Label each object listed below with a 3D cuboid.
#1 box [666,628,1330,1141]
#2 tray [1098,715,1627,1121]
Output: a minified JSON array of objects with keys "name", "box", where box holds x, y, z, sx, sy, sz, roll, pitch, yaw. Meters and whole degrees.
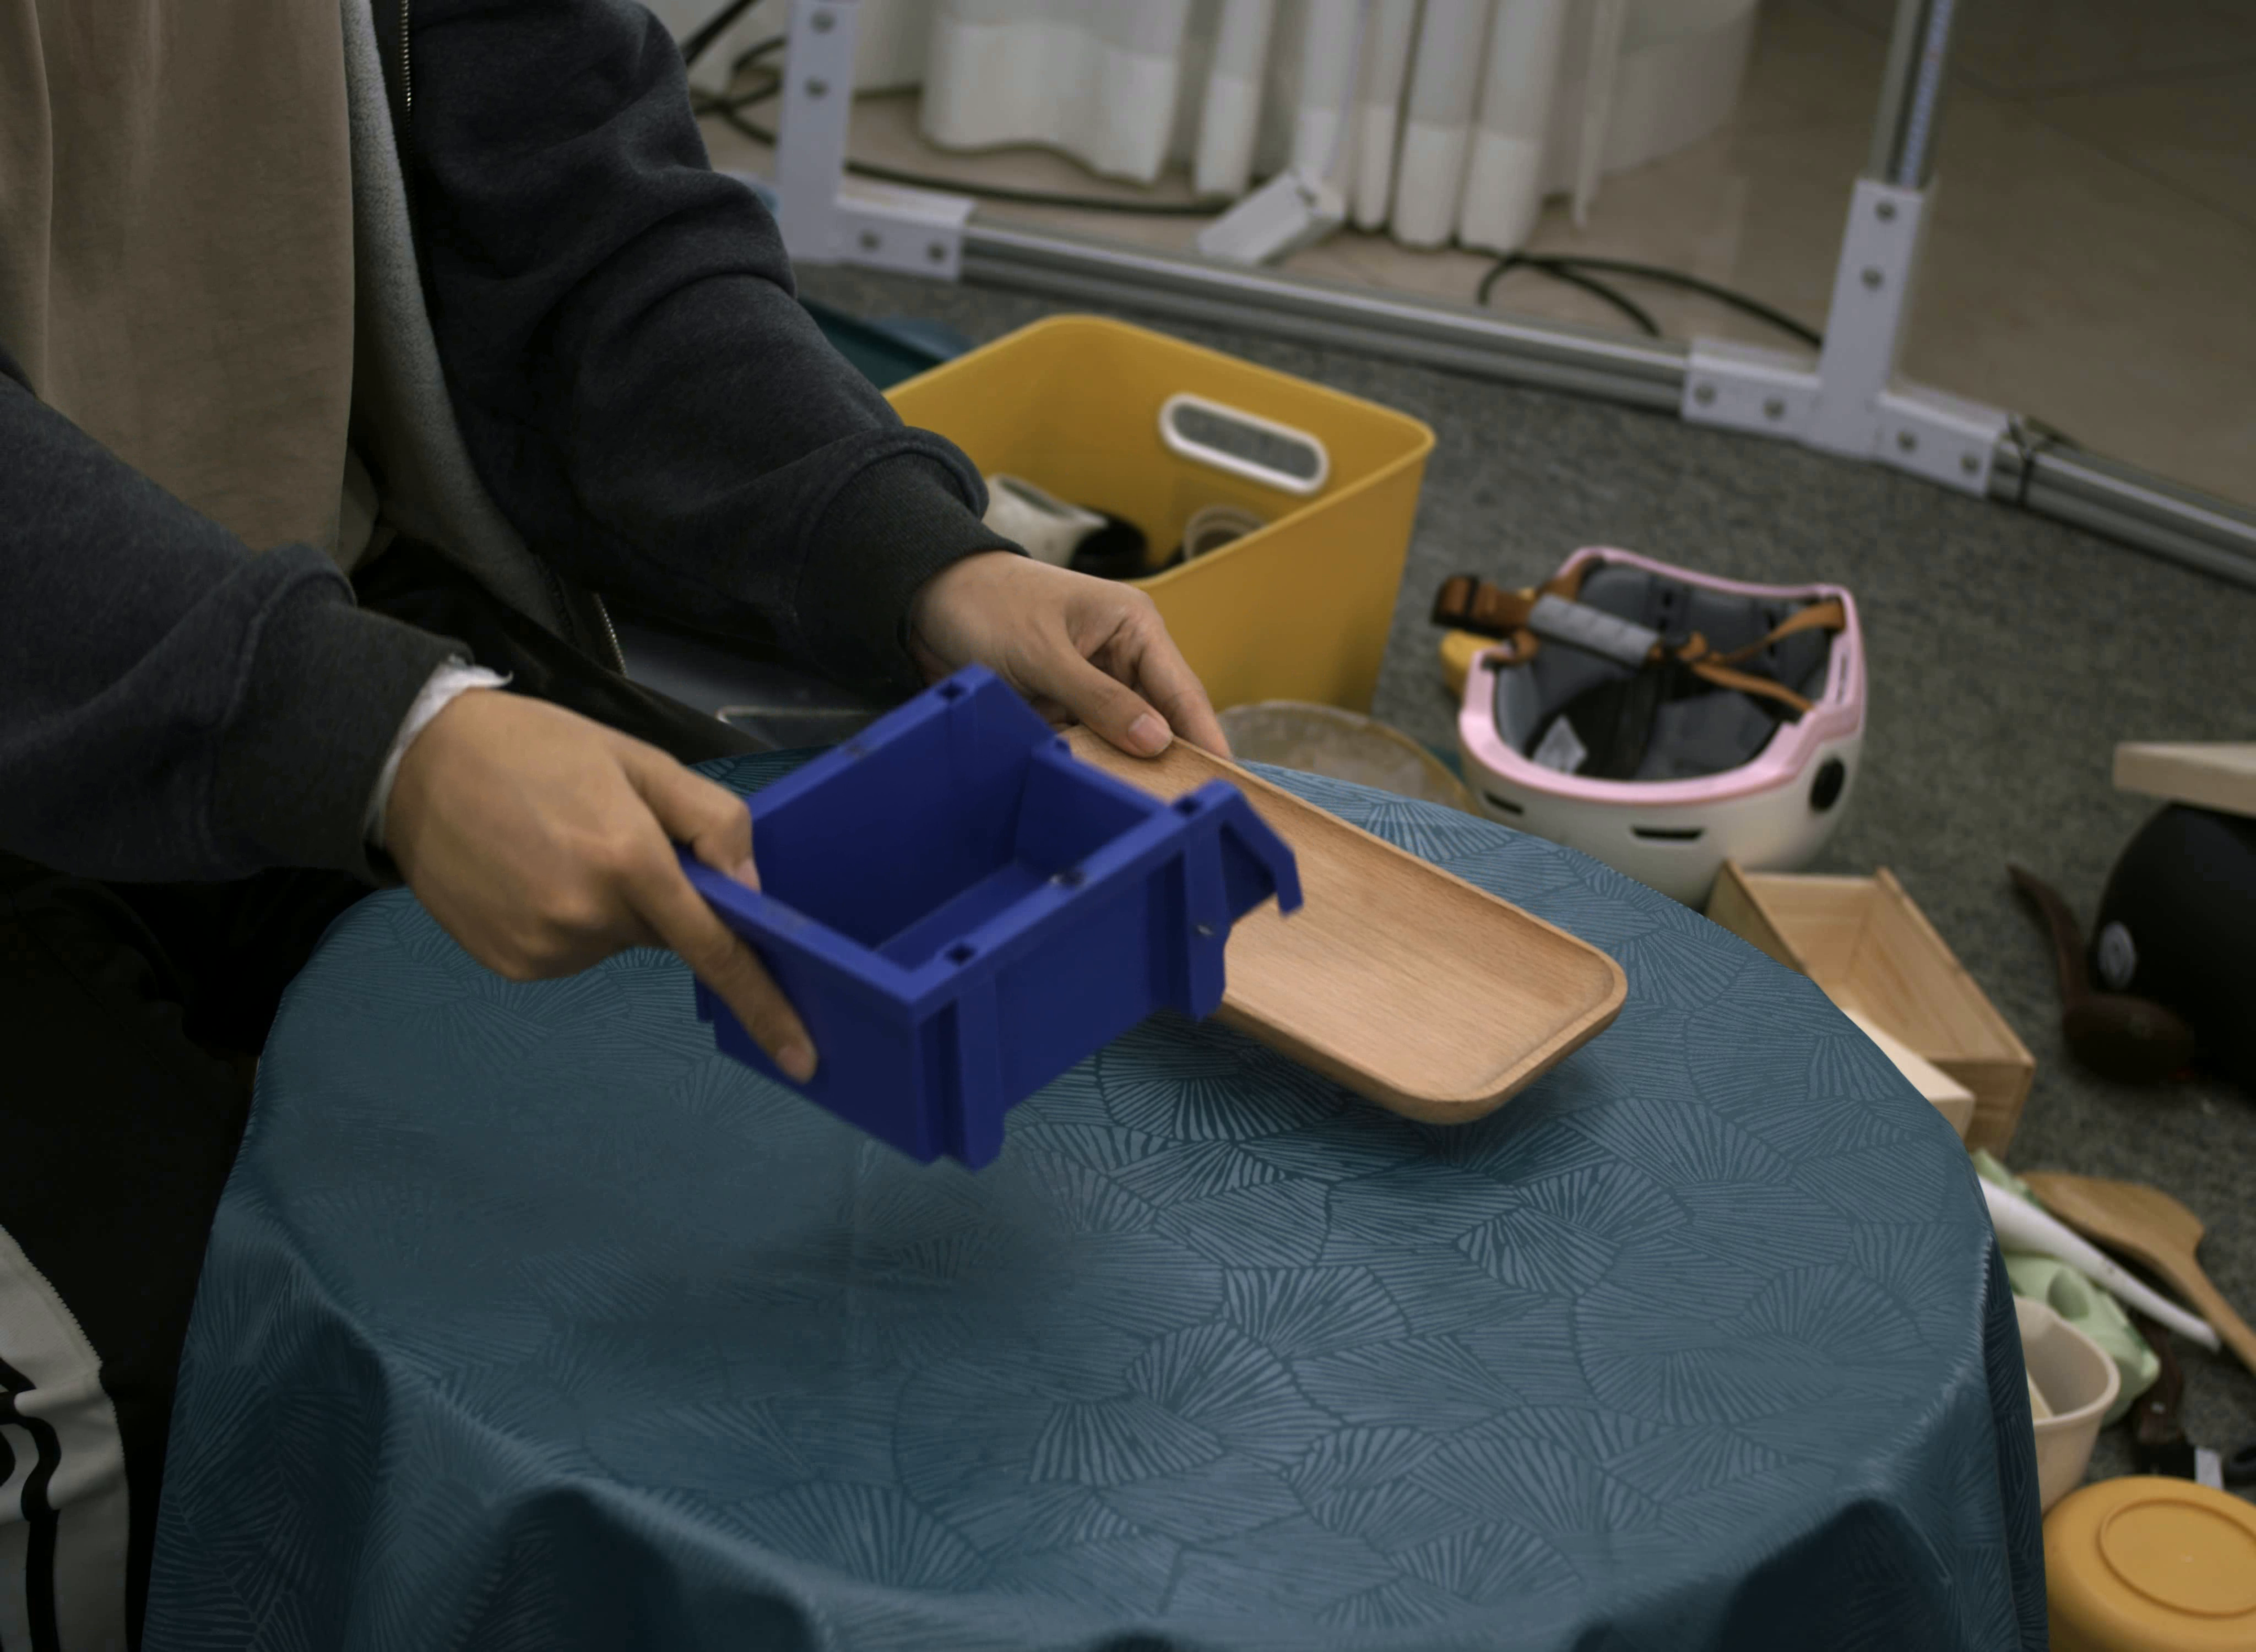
[{"name":"box","box":[-0.041,0.014,1.724,0.179,0.081,0.125,-34,44,-31]},{"name":"tray","box":[0.052,0.031,1.918,0.252,0.023,0.130,27,35,30]}]
